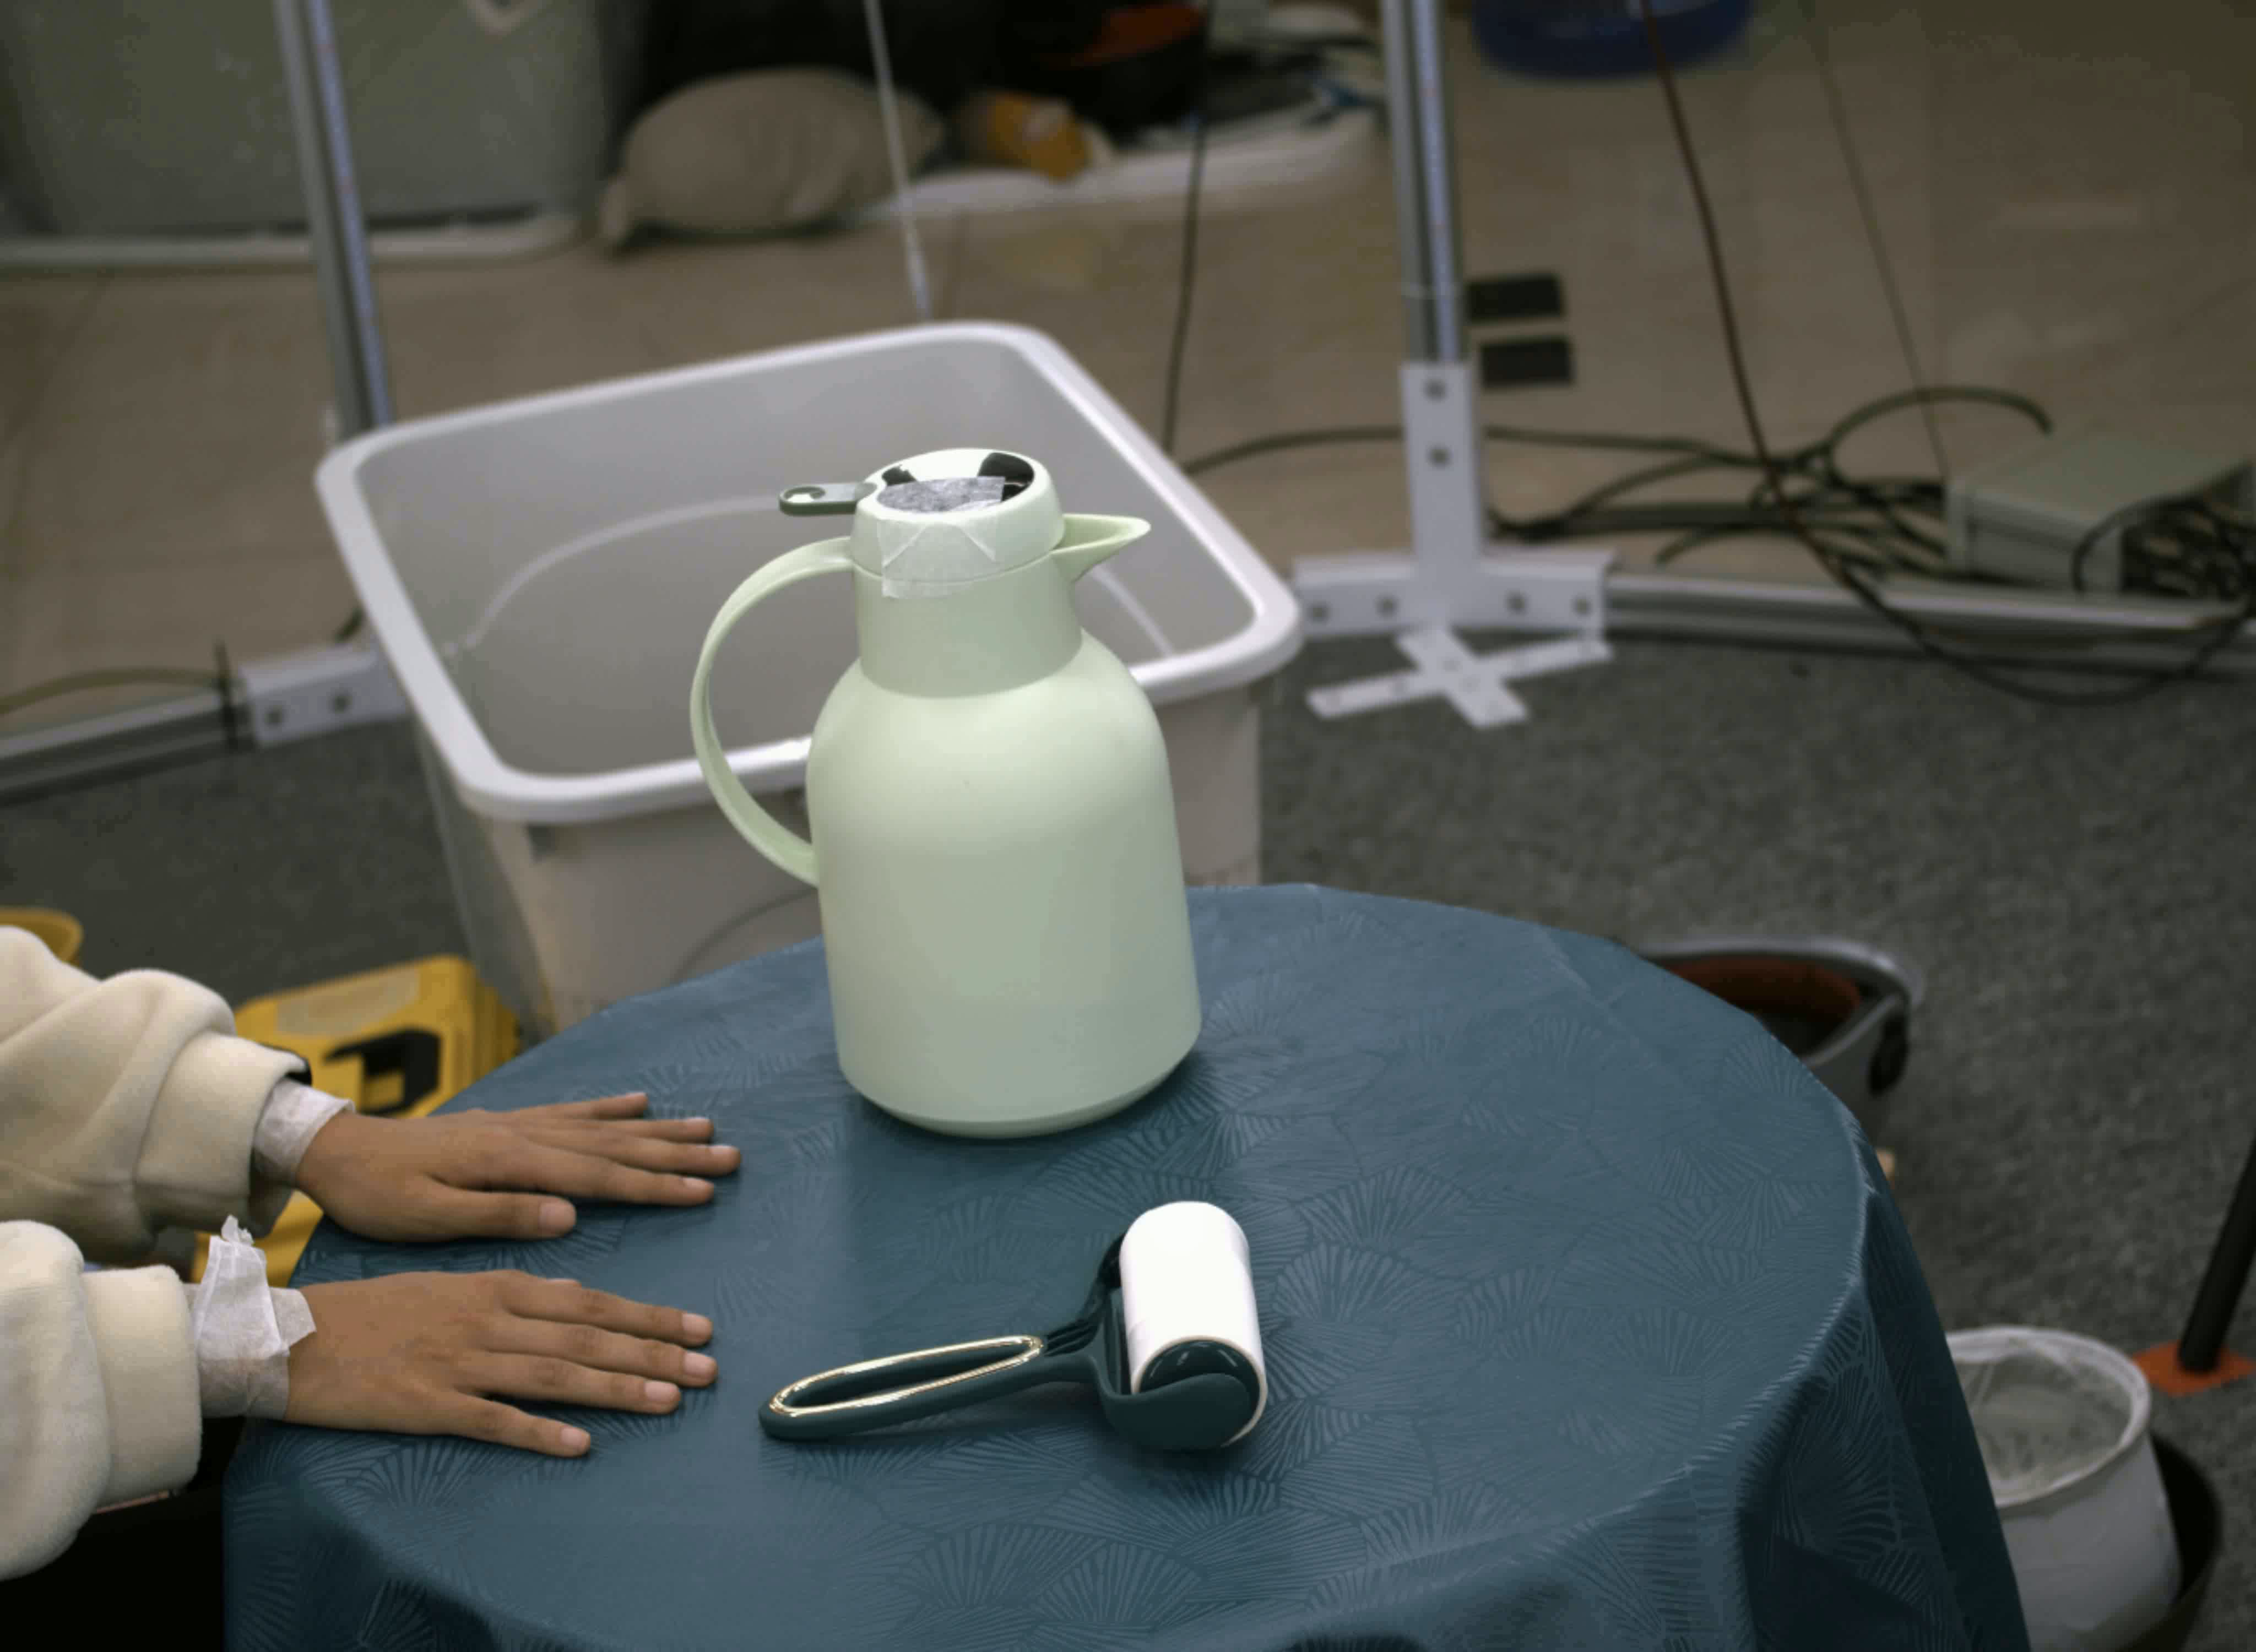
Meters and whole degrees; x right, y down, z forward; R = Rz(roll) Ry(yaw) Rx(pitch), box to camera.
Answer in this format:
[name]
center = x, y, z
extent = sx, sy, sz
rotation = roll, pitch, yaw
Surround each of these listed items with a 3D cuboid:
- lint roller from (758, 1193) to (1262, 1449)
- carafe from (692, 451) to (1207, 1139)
[lint roller]
center = -0.044, 0.183, 2.007
extent = 0.180, 0.049, 0.132
rotation = -6, 24, 1
[carafe]
center = -0.068, -0.015, 2.197
extent = 0.186, 0.261, 0.142
rotation = -7, 27, 6
